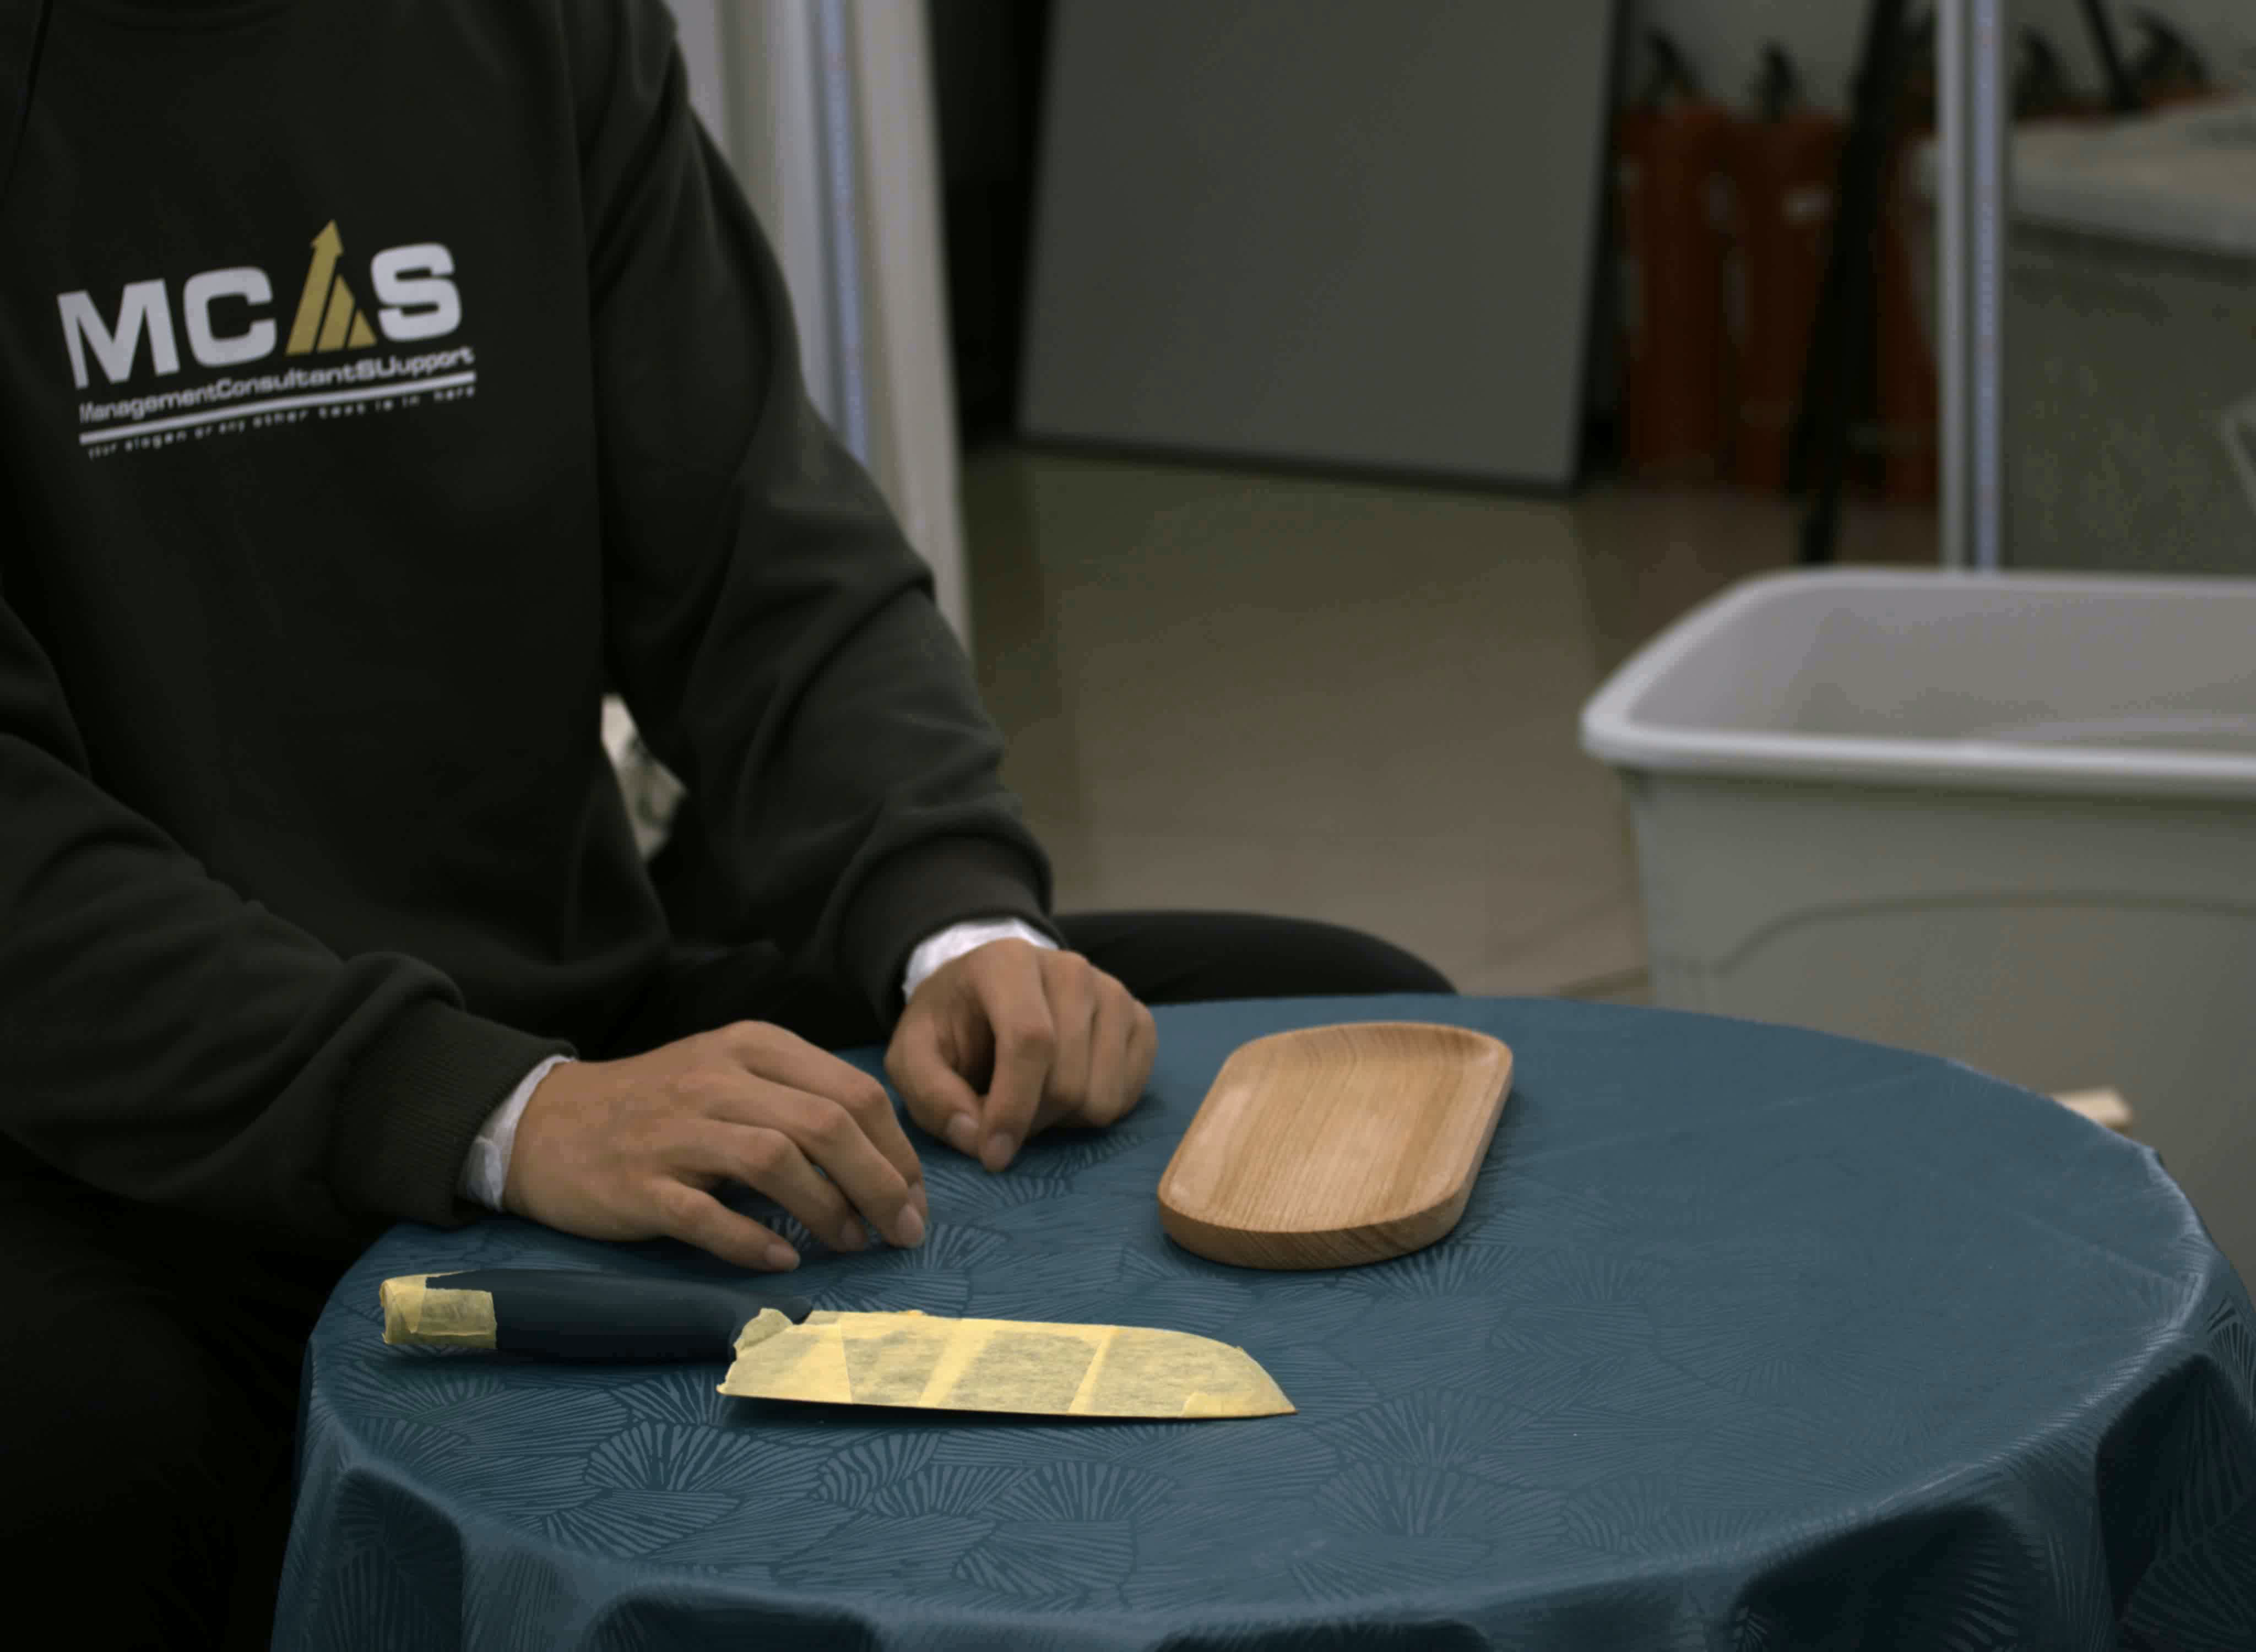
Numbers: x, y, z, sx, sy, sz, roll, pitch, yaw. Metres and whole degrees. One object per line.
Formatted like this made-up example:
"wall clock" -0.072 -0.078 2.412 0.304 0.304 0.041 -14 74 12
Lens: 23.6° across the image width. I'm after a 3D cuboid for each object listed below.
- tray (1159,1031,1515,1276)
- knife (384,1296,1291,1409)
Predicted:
"tray" 0.072 0.106 1.783 0.101 0.020 0.230 -3 15 12
"knife" -0.090 0.160 1.610 0.288 0.027 0.080 0 12 15
